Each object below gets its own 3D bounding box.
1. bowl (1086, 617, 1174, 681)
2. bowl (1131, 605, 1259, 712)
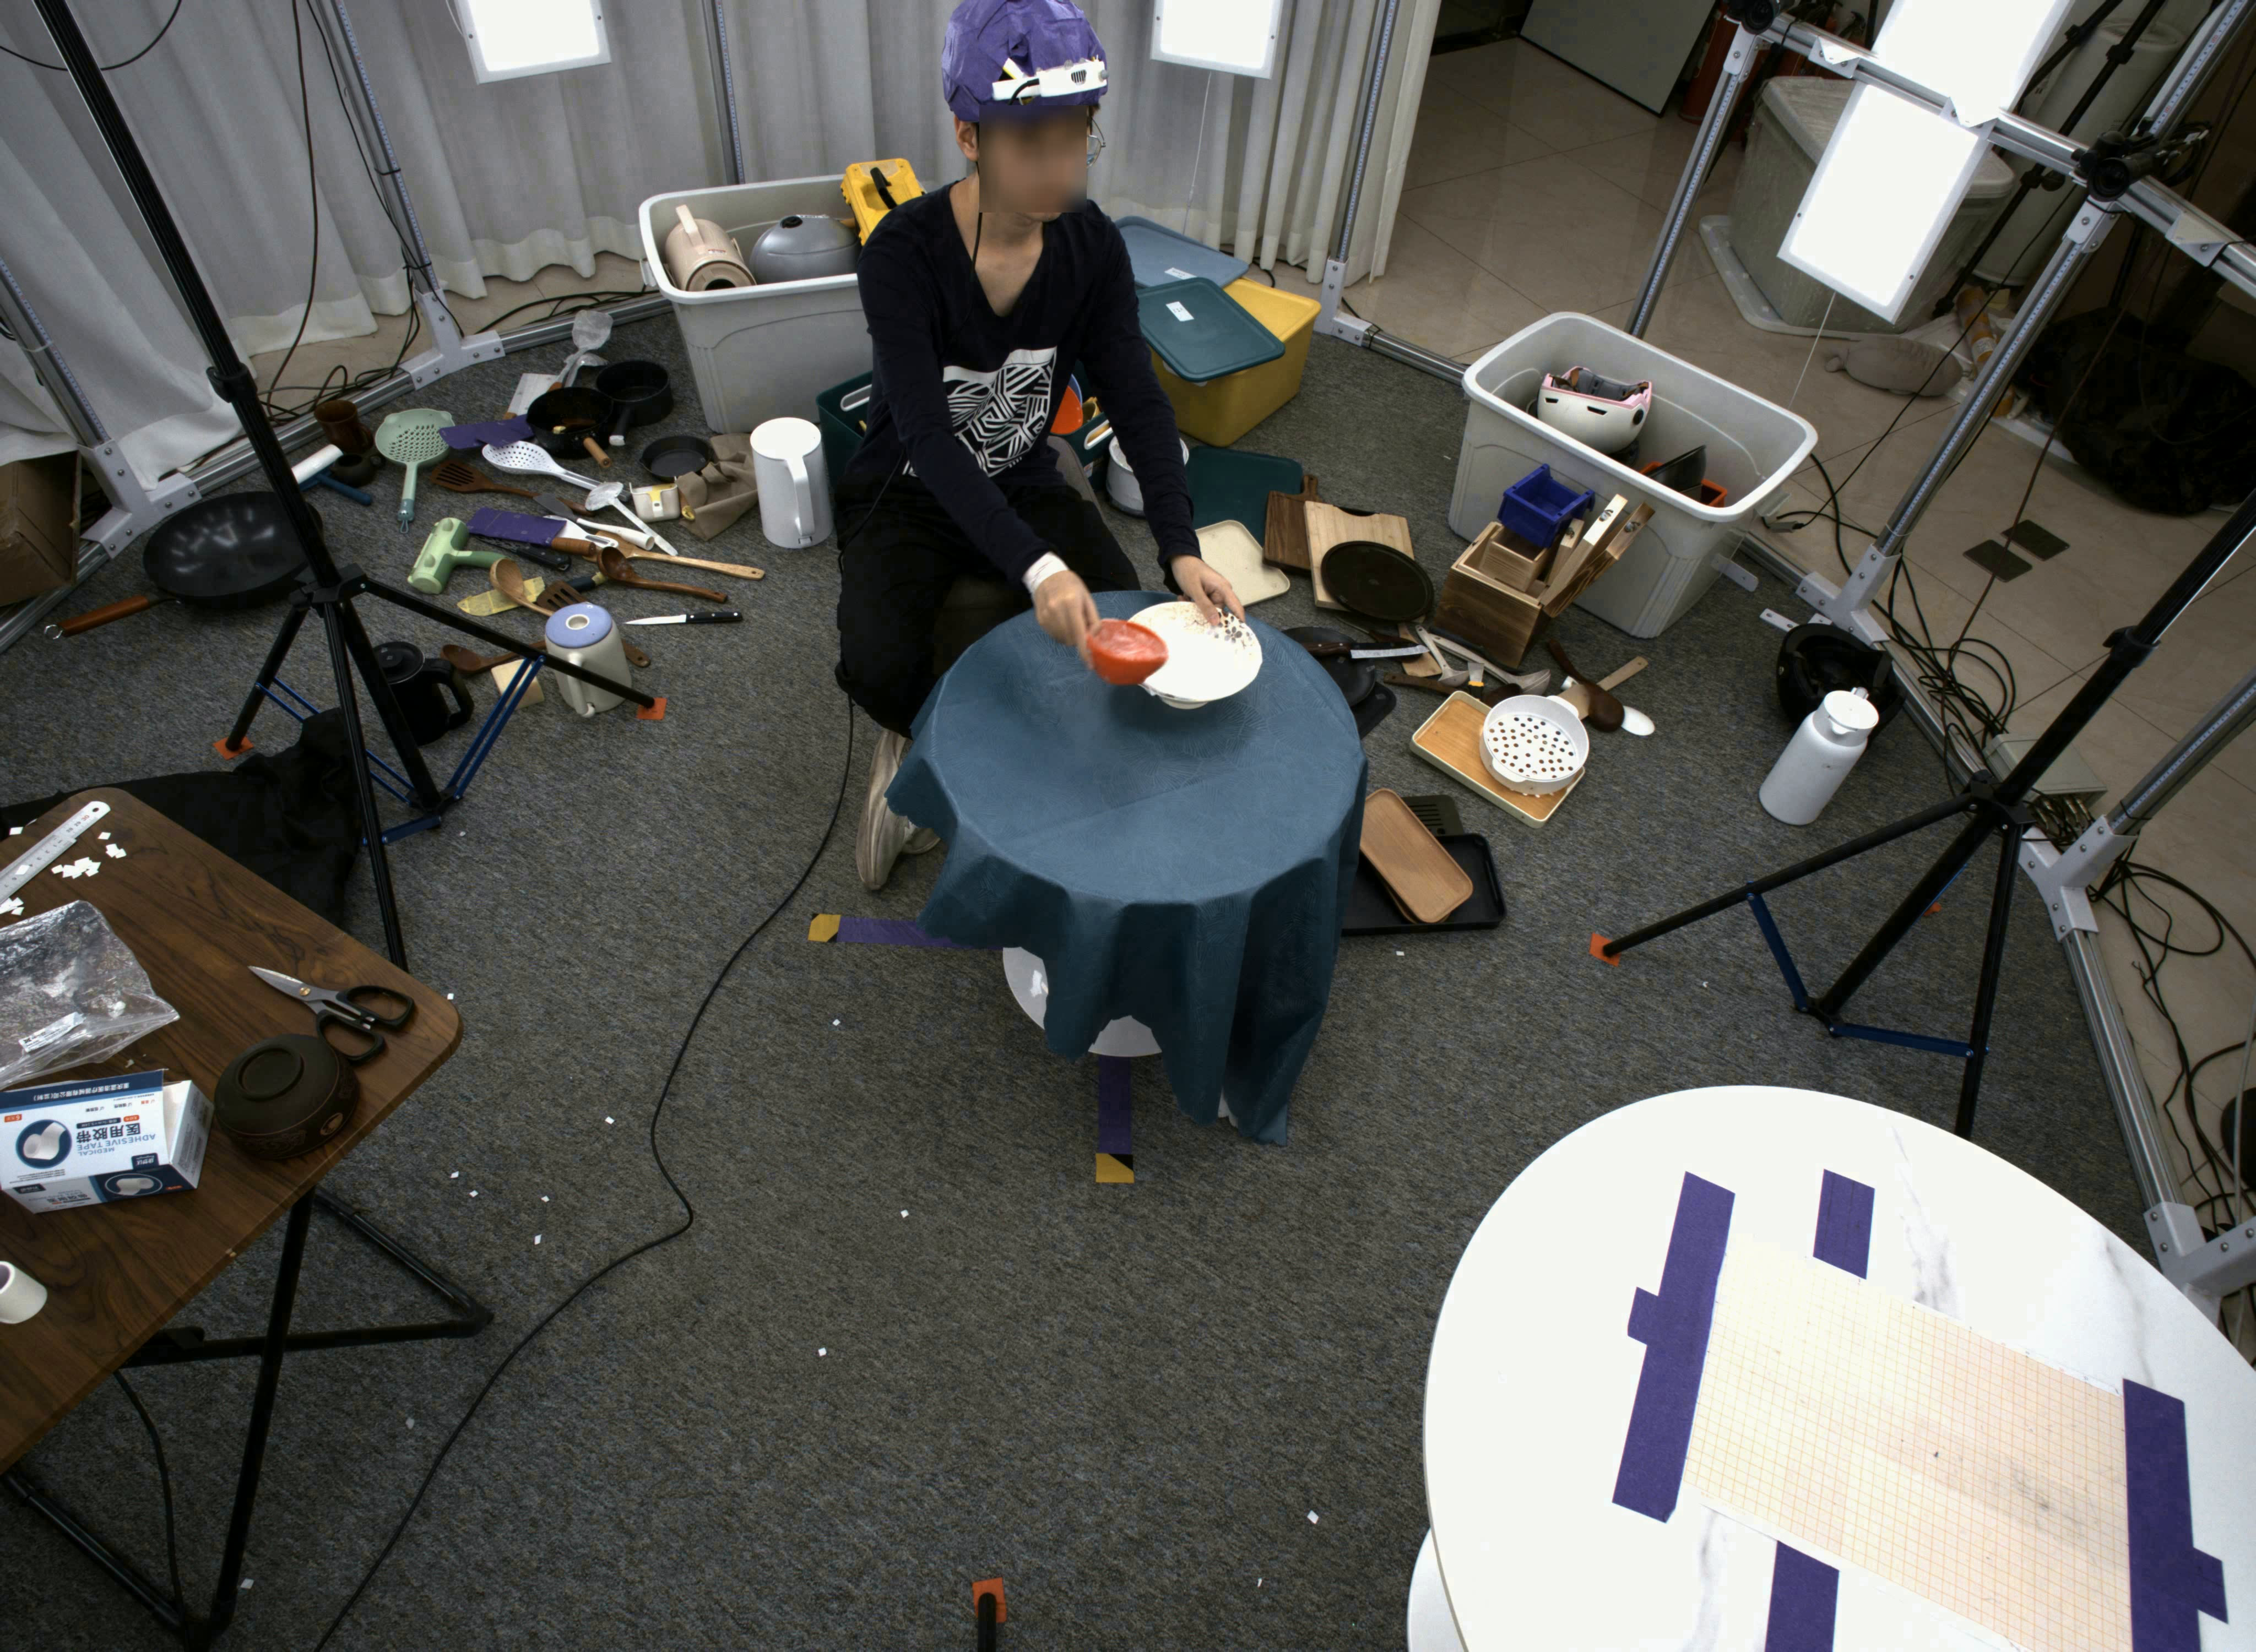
[{"bbox_3d":[-0.003,-0.230,1.692,0.118,0.050,0.121,11,32,-7],"label":"bowl"},{"bbox_3d":[0.080,-0.220,1.815,0.204,0.076,0.209,3,46,-3],"label":"bowl"}]
